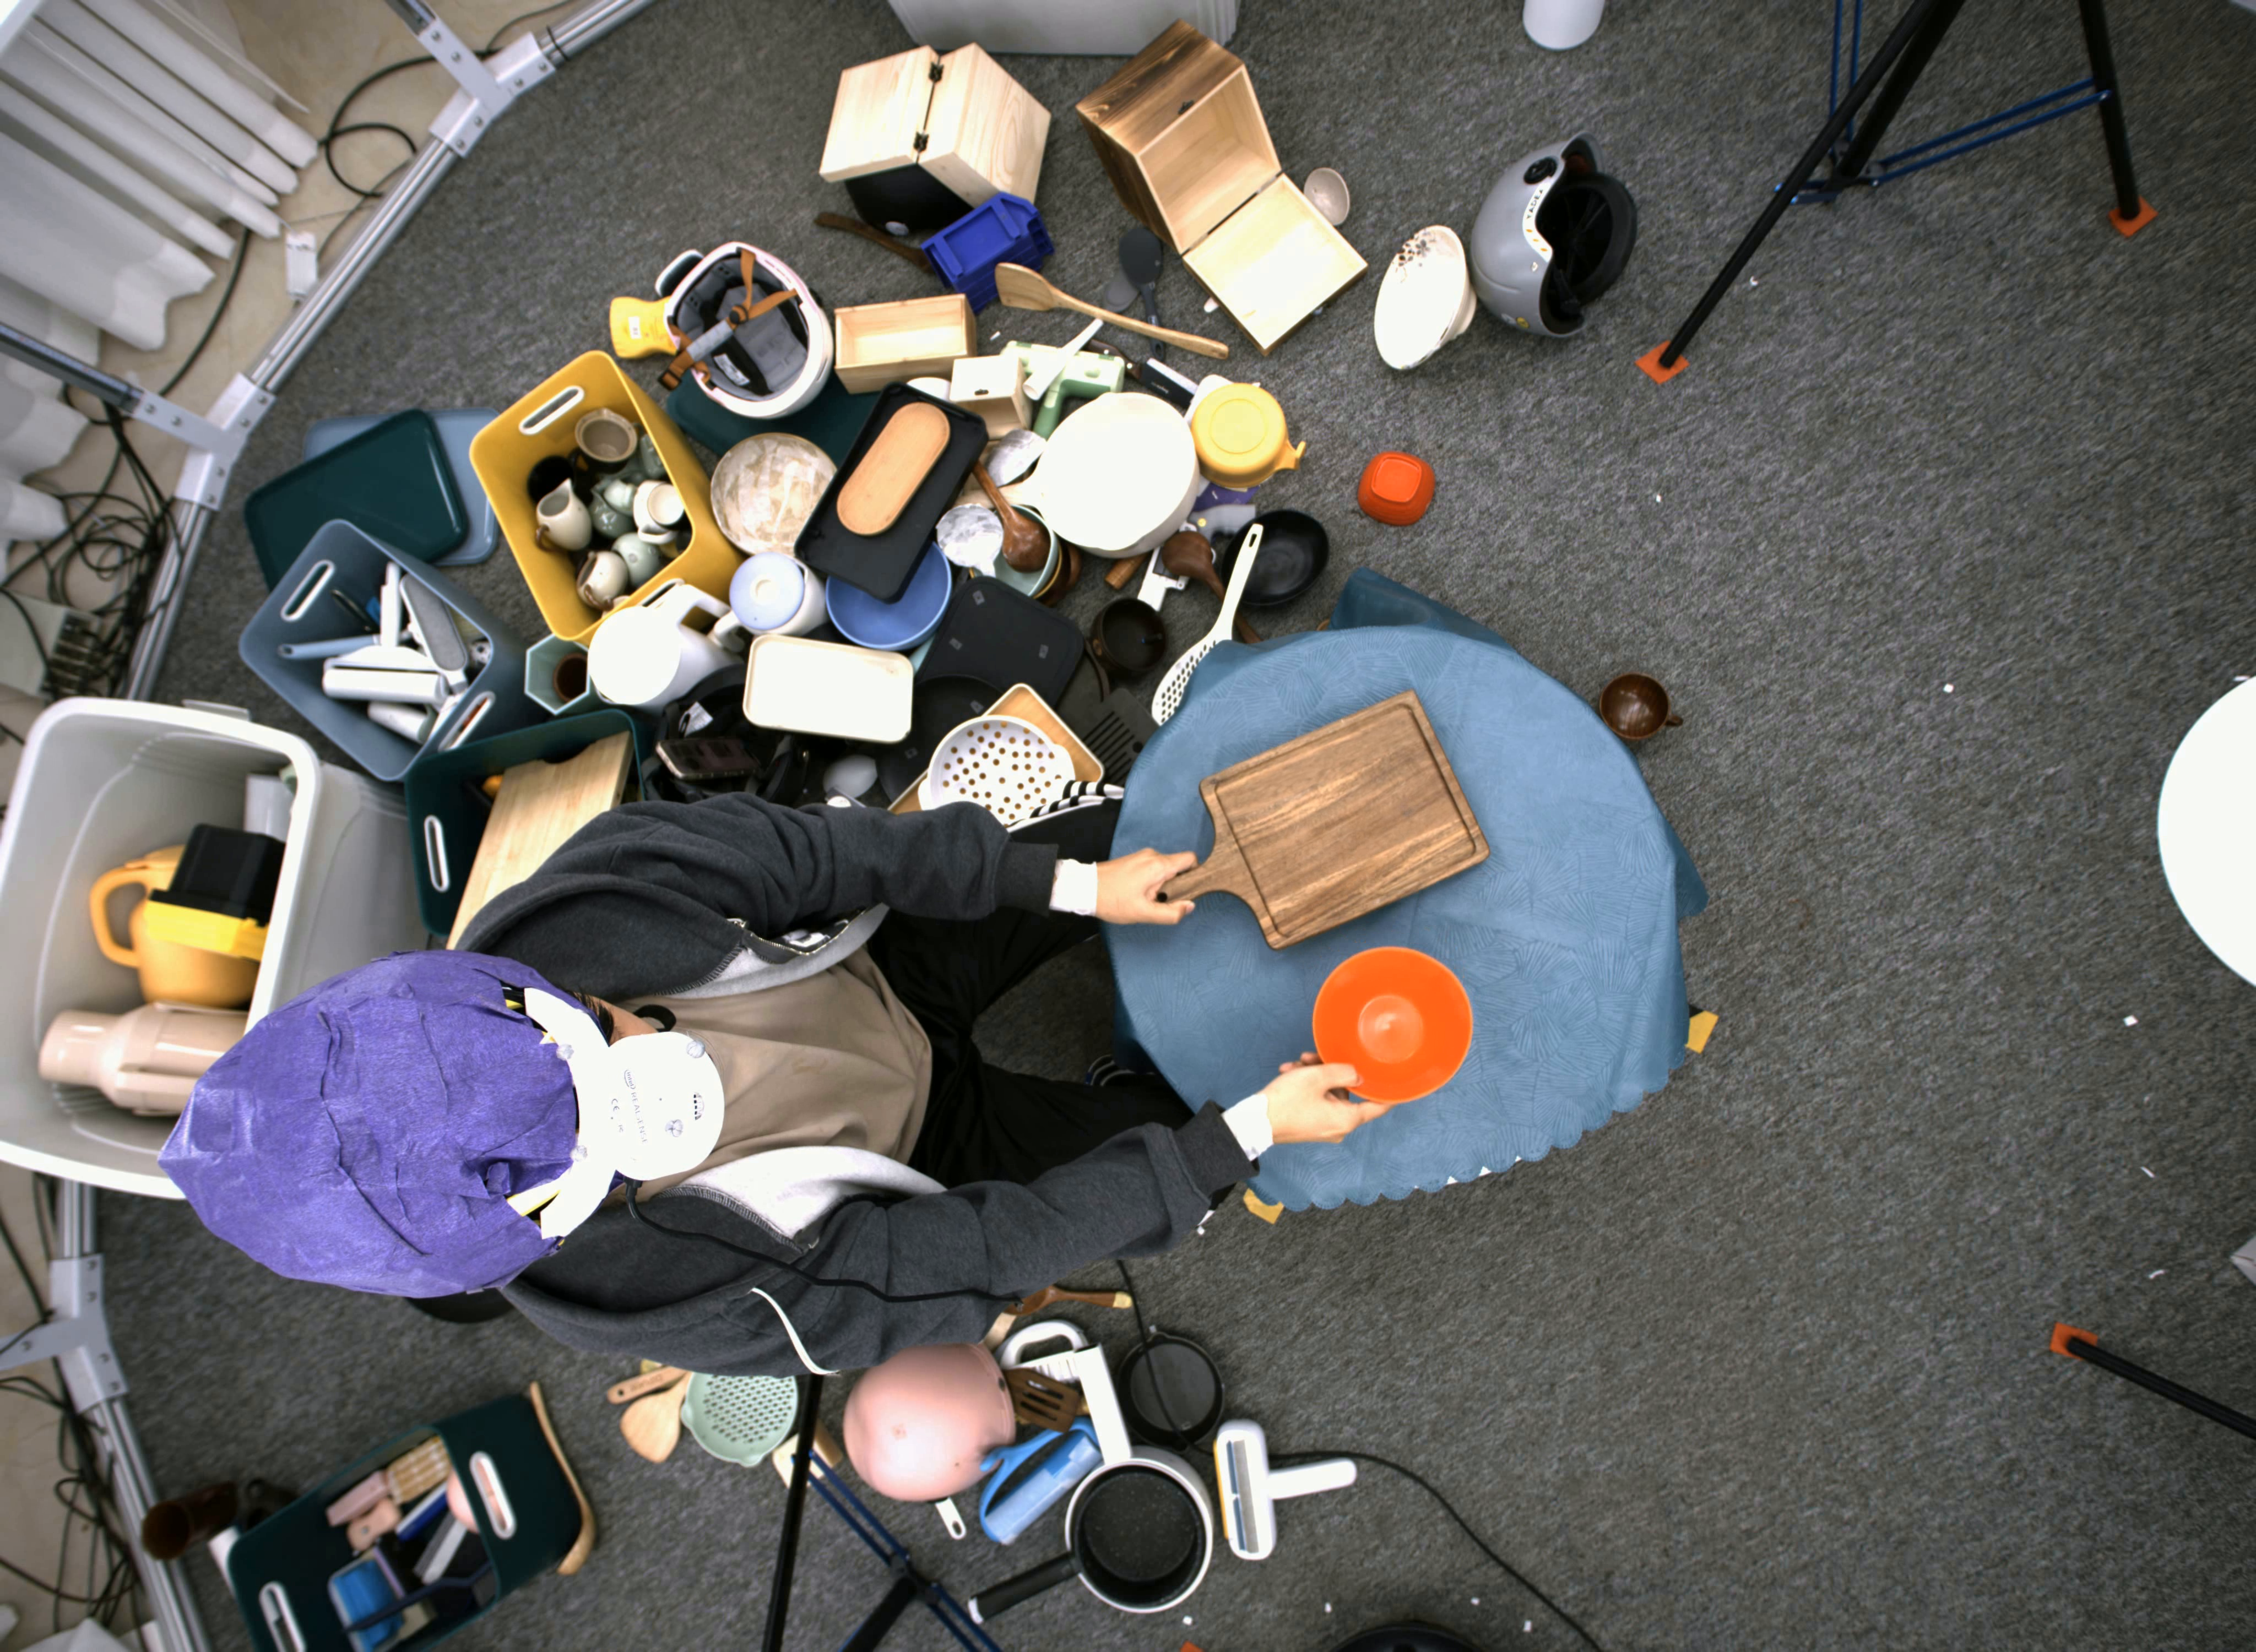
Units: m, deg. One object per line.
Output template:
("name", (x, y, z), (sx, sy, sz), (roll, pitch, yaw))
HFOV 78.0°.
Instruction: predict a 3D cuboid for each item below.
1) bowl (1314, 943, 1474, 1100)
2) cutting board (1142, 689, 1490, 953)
("bowl", (0.253, 0.183, 1.325), (0.148, 0.104, 0.148), (0, 89, 9))
("cutting board", (0.177, 0.012, 1.431), (0.352, 0.023, 0.200), (-24, 84, 1))
